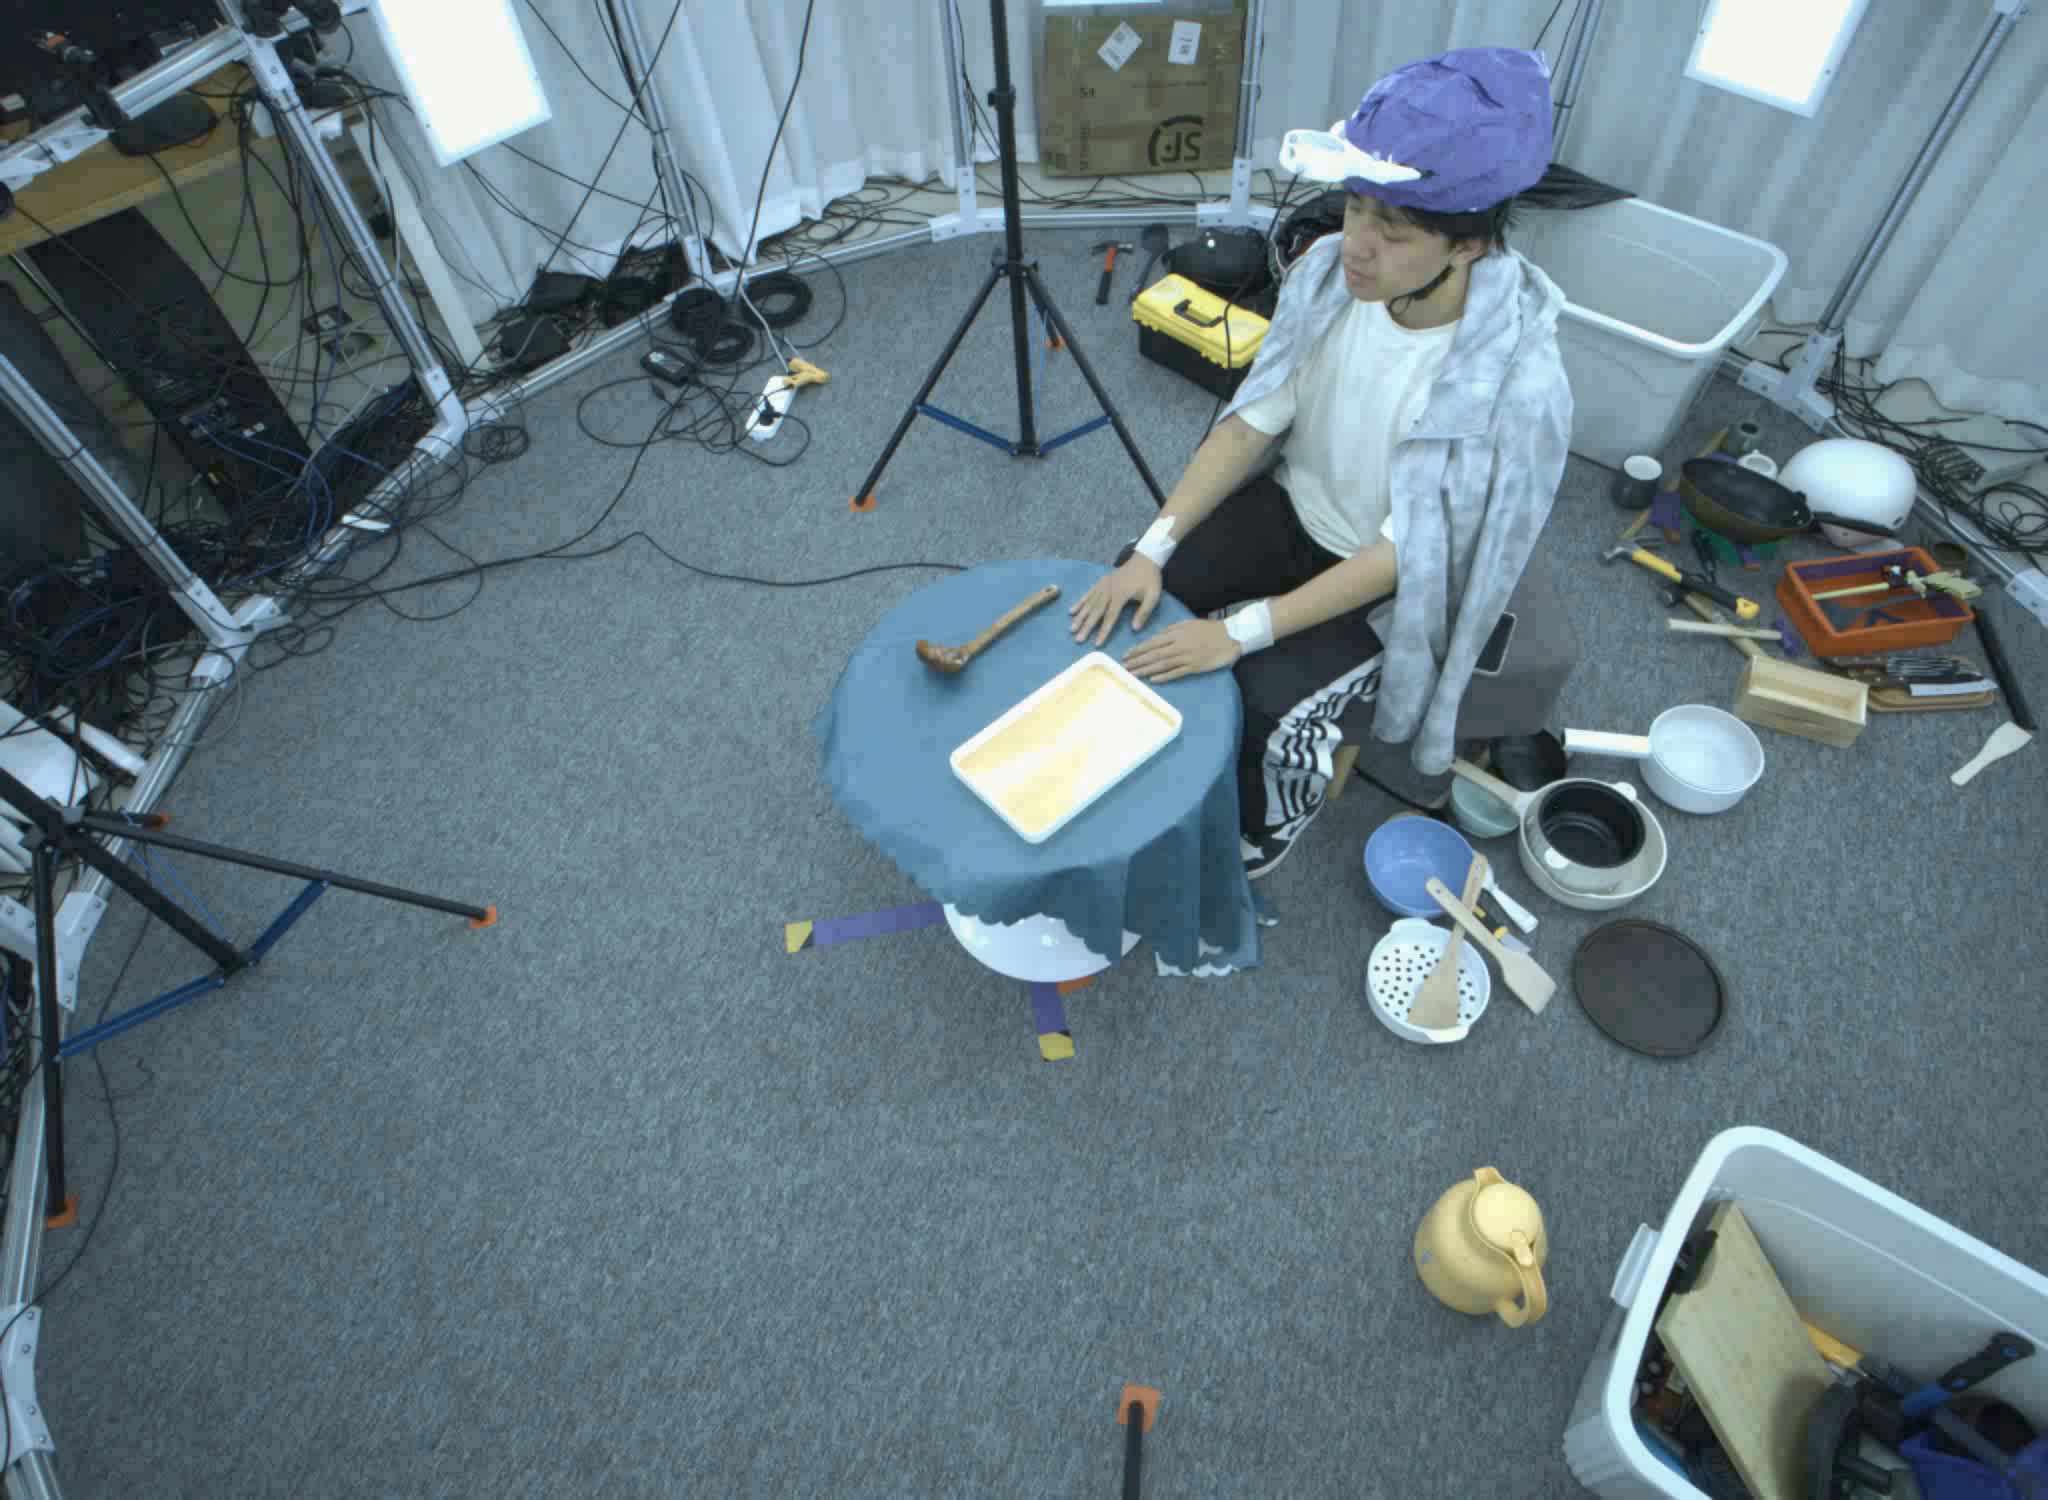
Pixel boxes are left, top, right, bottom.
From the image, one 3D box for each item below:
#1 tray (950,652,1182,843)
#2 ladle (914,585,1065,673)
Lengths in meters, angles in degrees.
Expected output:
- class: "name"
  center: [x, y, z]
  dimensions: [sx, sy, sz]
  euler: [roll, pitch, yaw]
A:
- class: "tray"
  center: [0.062, -0.009, 1.777]
  dimensions: [0.302, 0.028, 0.188]
  euler: [-37, 61, -22]
- class: "ladle"
  center: [-0.050, -0.204, 1.888]
  dimensions: [0.276, 0.077, 0.080]
  euler: [-37, 57, -21]
